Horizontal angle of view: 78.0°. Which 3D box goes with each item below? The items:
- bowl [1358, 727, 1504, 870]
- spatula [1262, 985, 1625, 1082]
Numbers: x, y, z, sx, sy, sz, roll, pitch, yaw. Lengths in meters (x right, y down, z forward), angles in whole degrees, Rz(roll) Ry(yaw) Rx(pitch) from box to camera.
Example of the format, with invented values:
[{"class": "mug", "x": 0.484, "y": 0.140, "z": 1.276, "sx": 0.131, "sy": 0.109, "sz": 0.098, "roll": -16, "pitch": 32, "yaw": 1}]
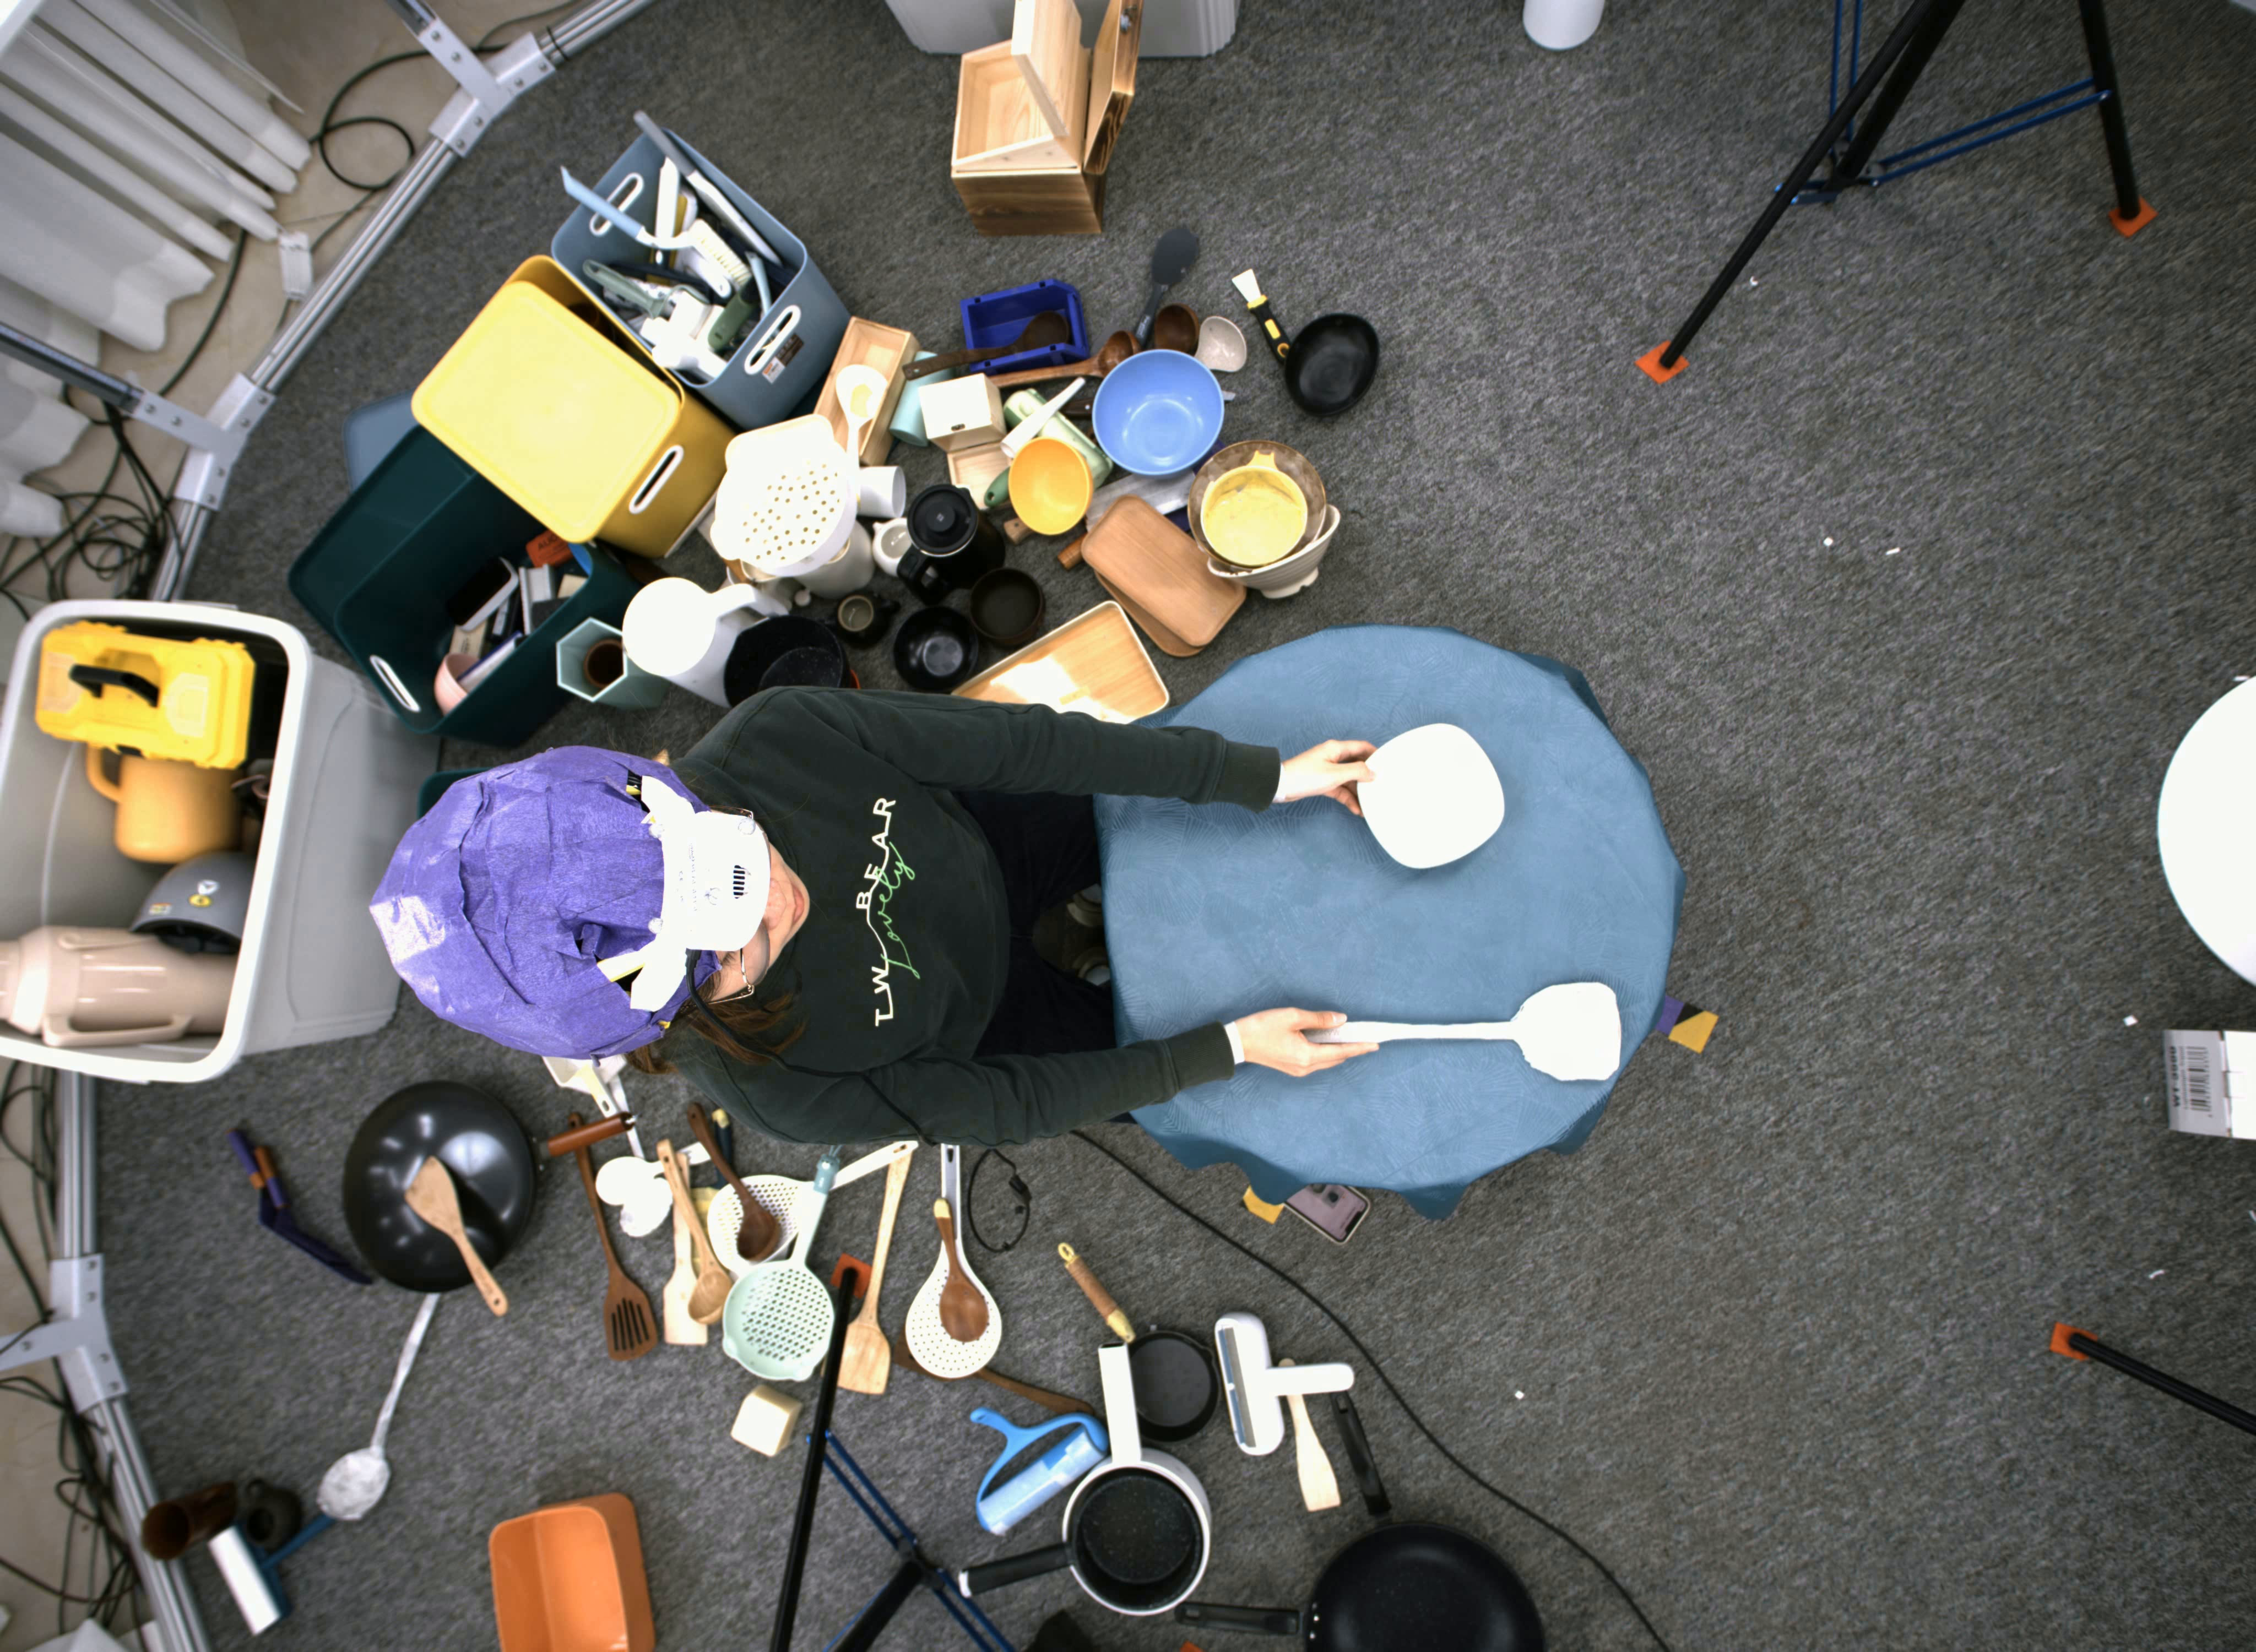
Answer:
[{"class": "bowl", "x": 0.313, "y": -0.027, "z": 1.434, "sx": 0.152, "sy": 0.059, "sz": 0.151, "roll": -1, "pitch": 86, "yaw": 6}, {"class": "spatula", "x": 0.320, "y": 0.208, "z": 1.418, "sx": 0.366, "sy": 0.045, "sz": 0.098, "roll": 0, "pitch": 87, "yaw": 5}]
